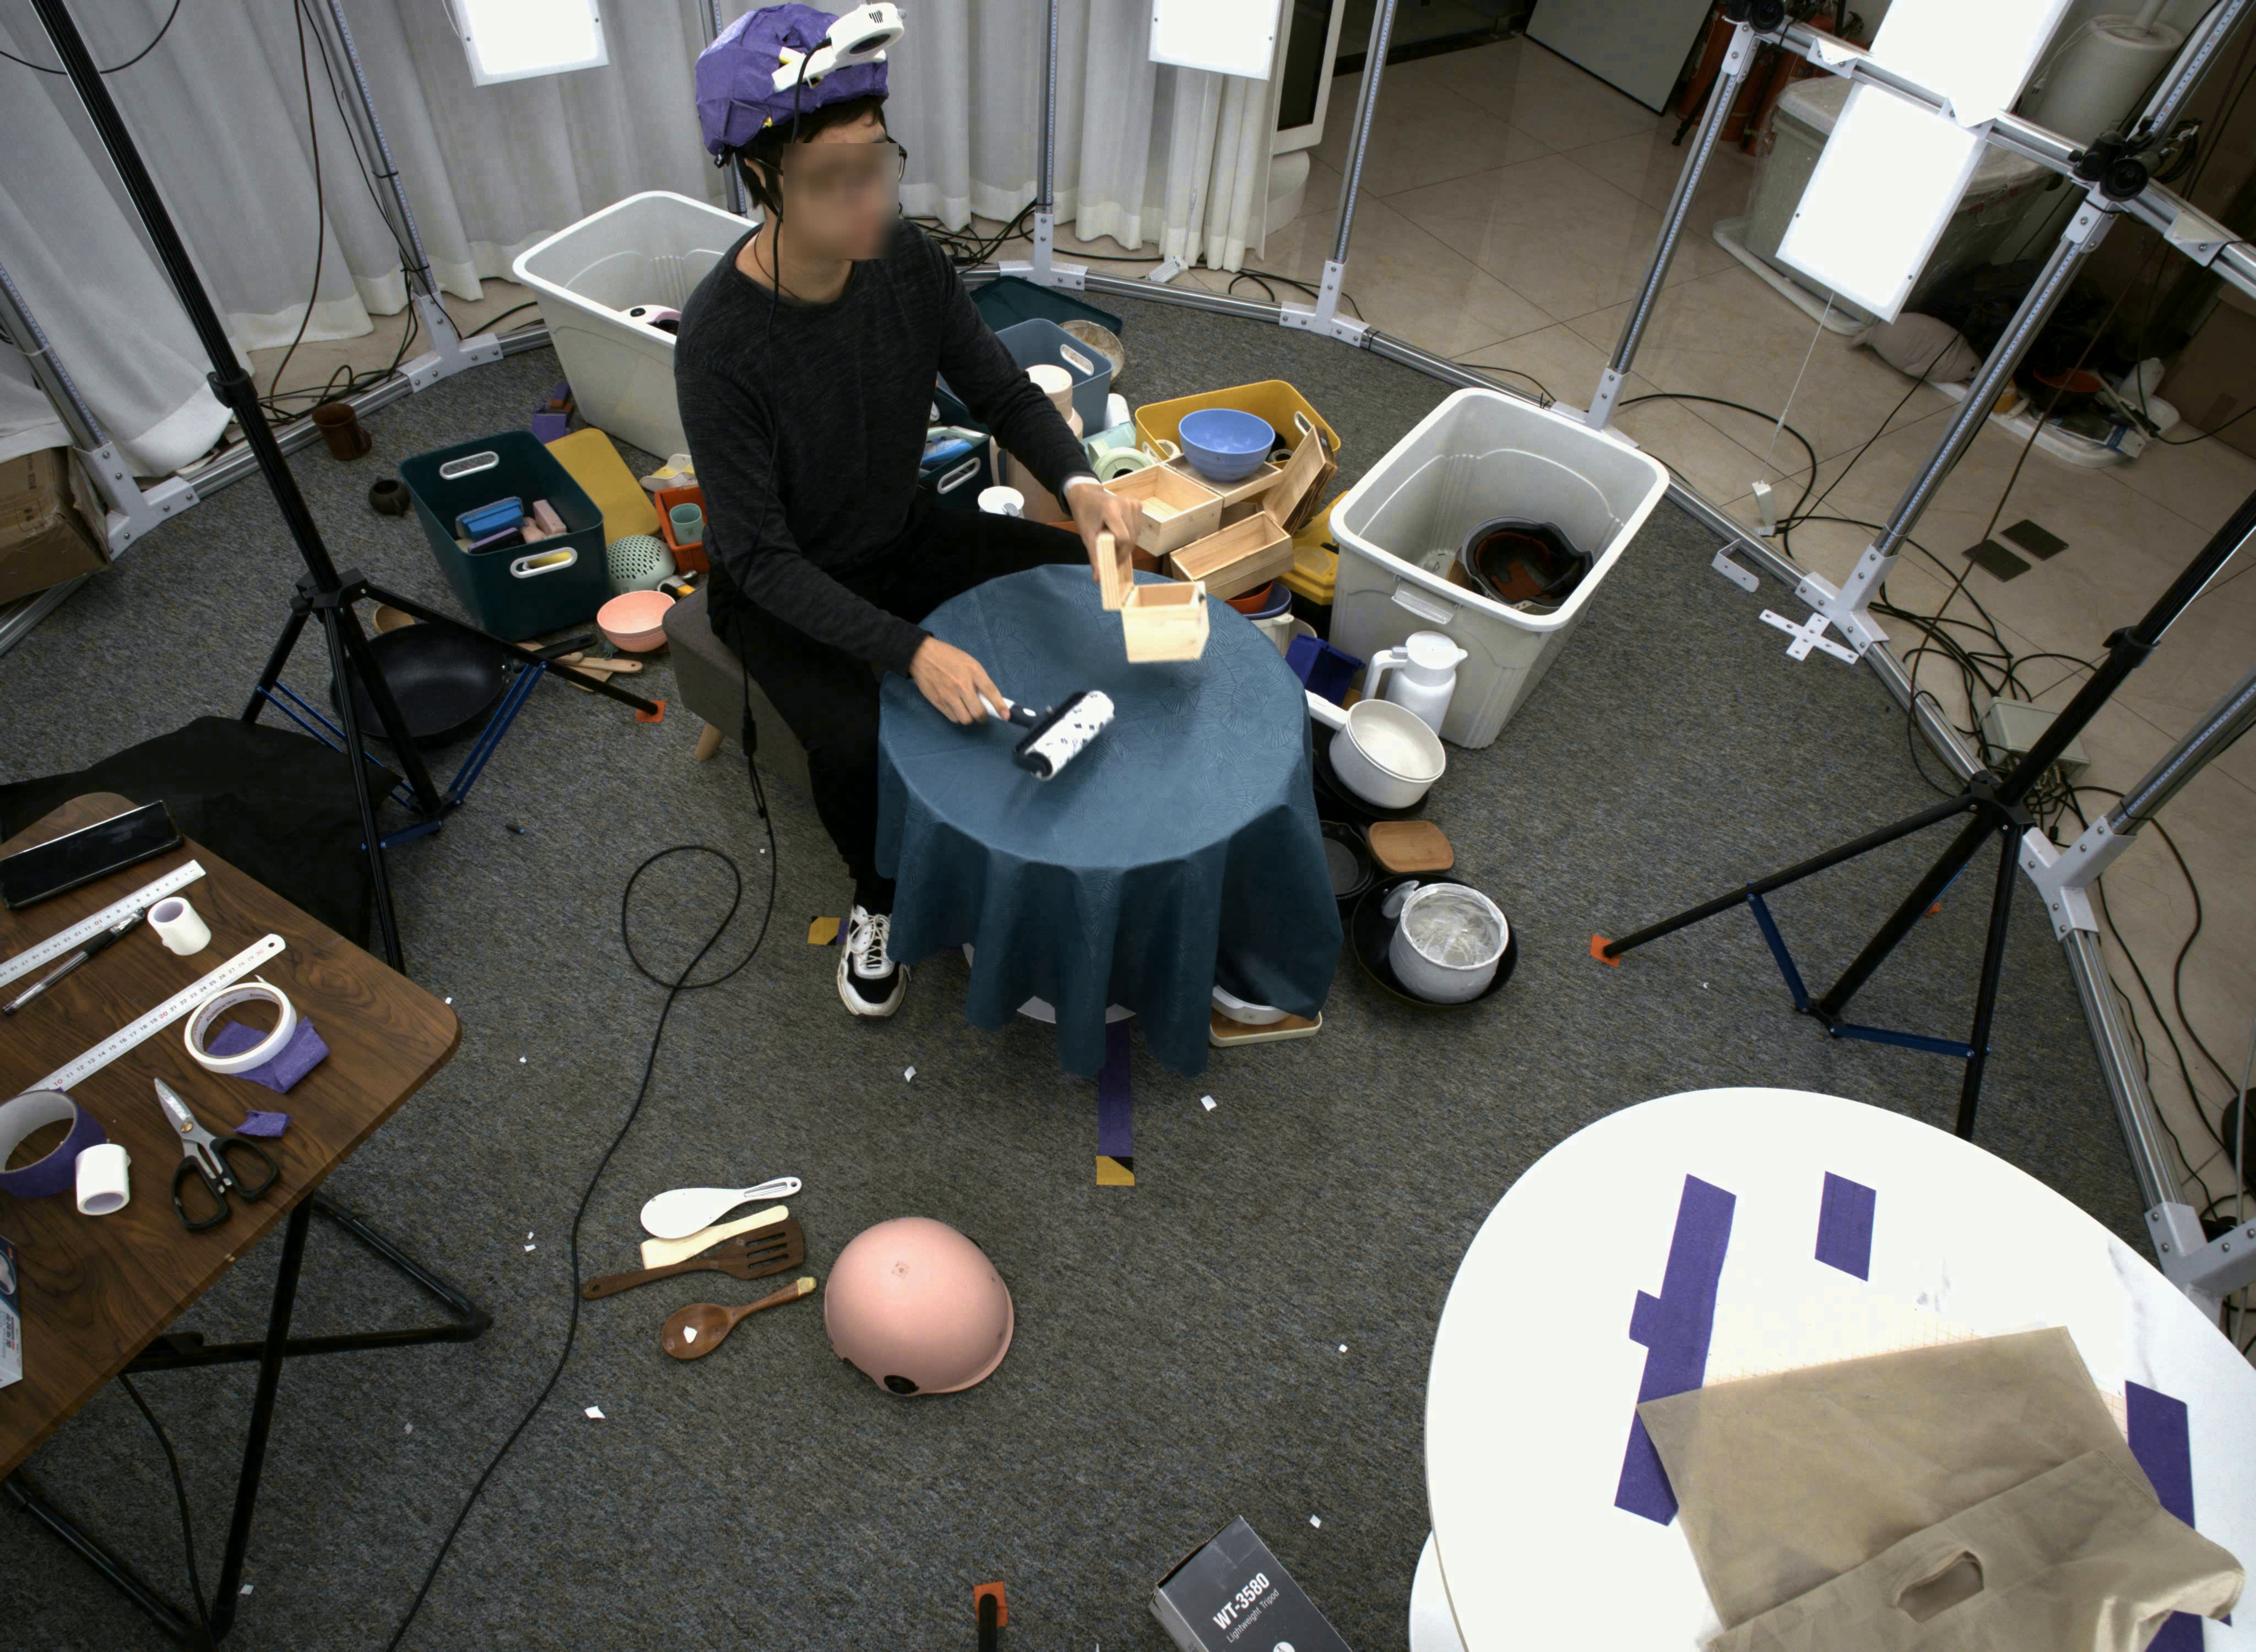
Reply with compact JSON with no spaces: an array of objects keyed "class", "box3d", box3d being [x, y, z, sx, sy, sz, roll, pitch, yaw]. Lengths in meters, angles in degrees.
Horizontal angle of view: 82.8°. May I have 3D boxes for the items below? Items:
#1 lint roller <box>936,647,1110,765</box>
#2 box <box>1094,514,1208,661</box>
[{"class":"lint roller","box3d":[-0.168,-0.184,1.744,0.250,0.049,0.178,34,44,23]},{"class":"box","box3d":[0.036,-0.334,1.774,0.134,0.181,0.104,-2,26,14]}]
